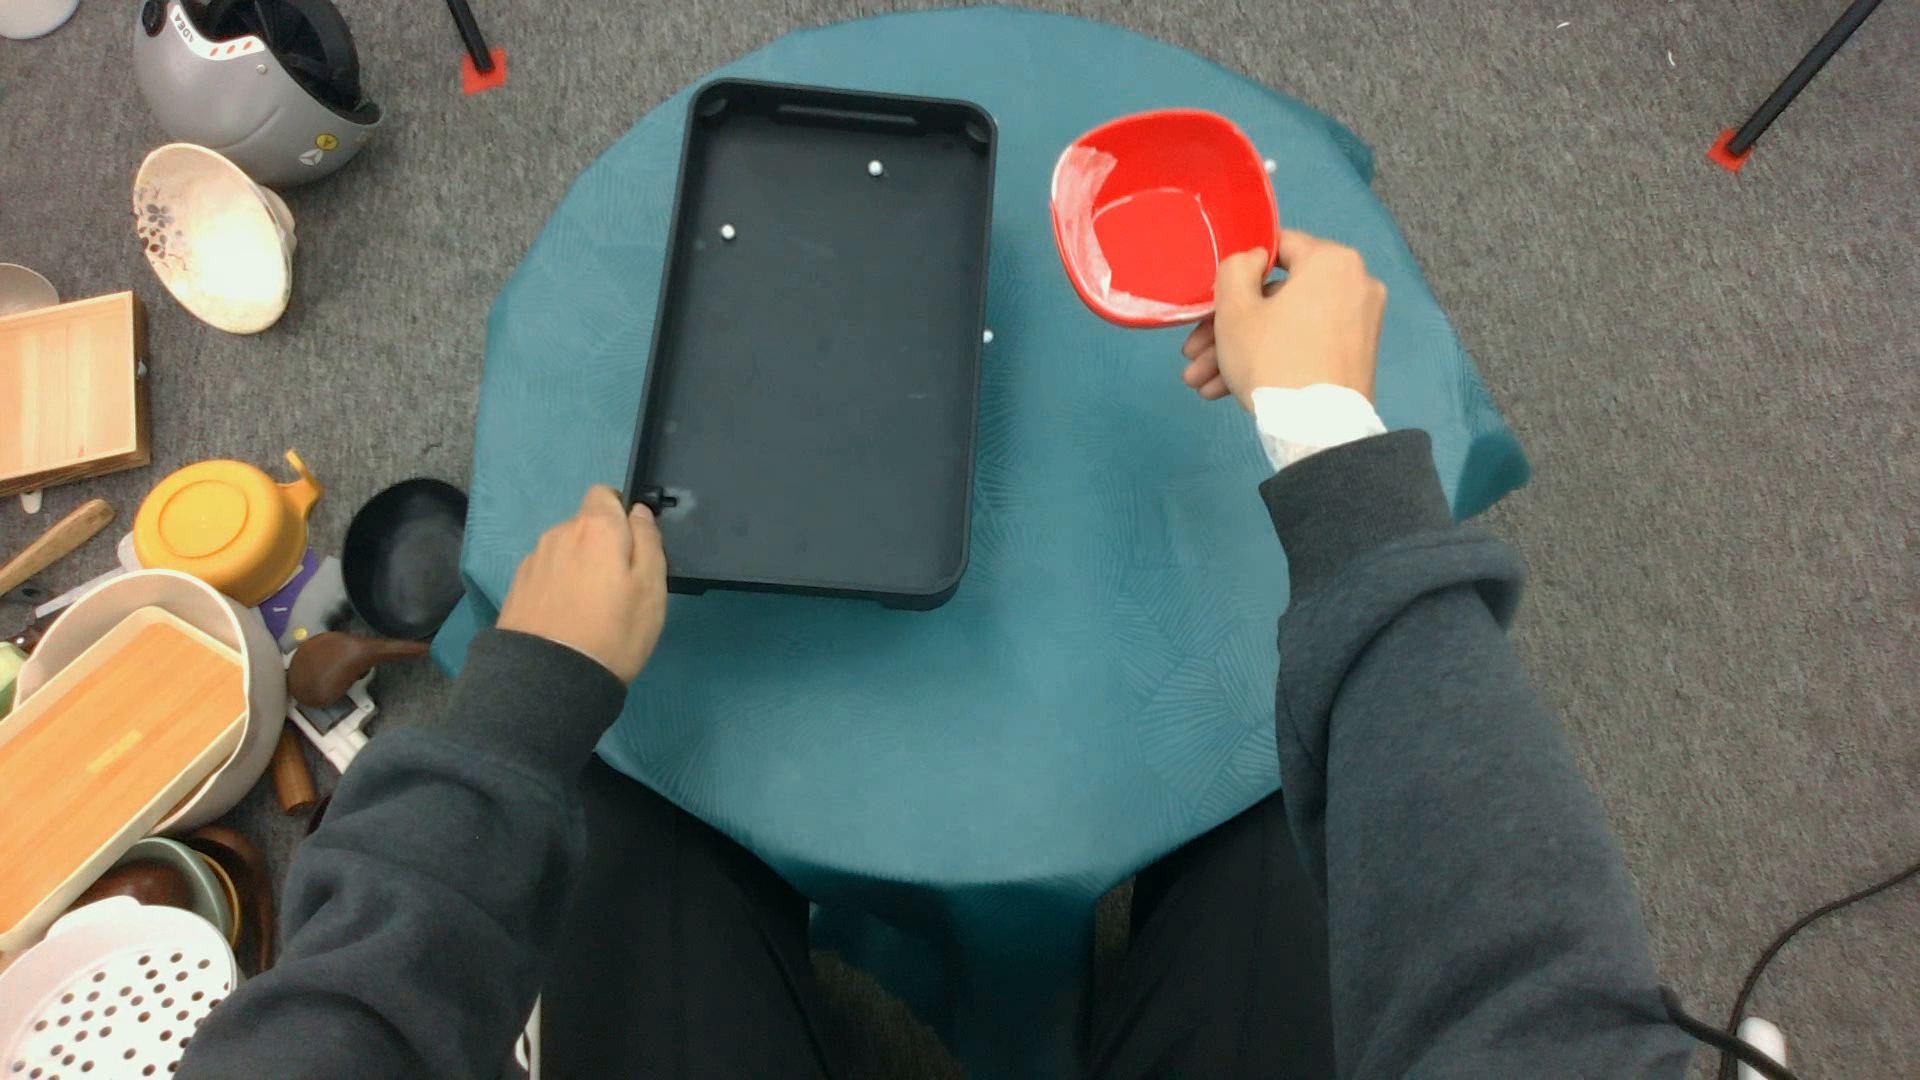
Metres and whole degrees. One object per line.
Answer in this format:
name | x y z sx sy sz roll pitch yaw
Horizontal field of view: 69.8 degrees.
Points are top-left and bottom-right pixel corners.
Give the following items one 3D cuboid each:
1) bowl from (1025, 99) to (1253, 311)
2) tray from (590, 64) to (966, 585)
bowl | 0.089 -0.164 0.709 0.119 0.051 0.119 0 75 0
tray | -0.093 -0.129 0.772 0.184 0.037 0.319 3 66 -3
